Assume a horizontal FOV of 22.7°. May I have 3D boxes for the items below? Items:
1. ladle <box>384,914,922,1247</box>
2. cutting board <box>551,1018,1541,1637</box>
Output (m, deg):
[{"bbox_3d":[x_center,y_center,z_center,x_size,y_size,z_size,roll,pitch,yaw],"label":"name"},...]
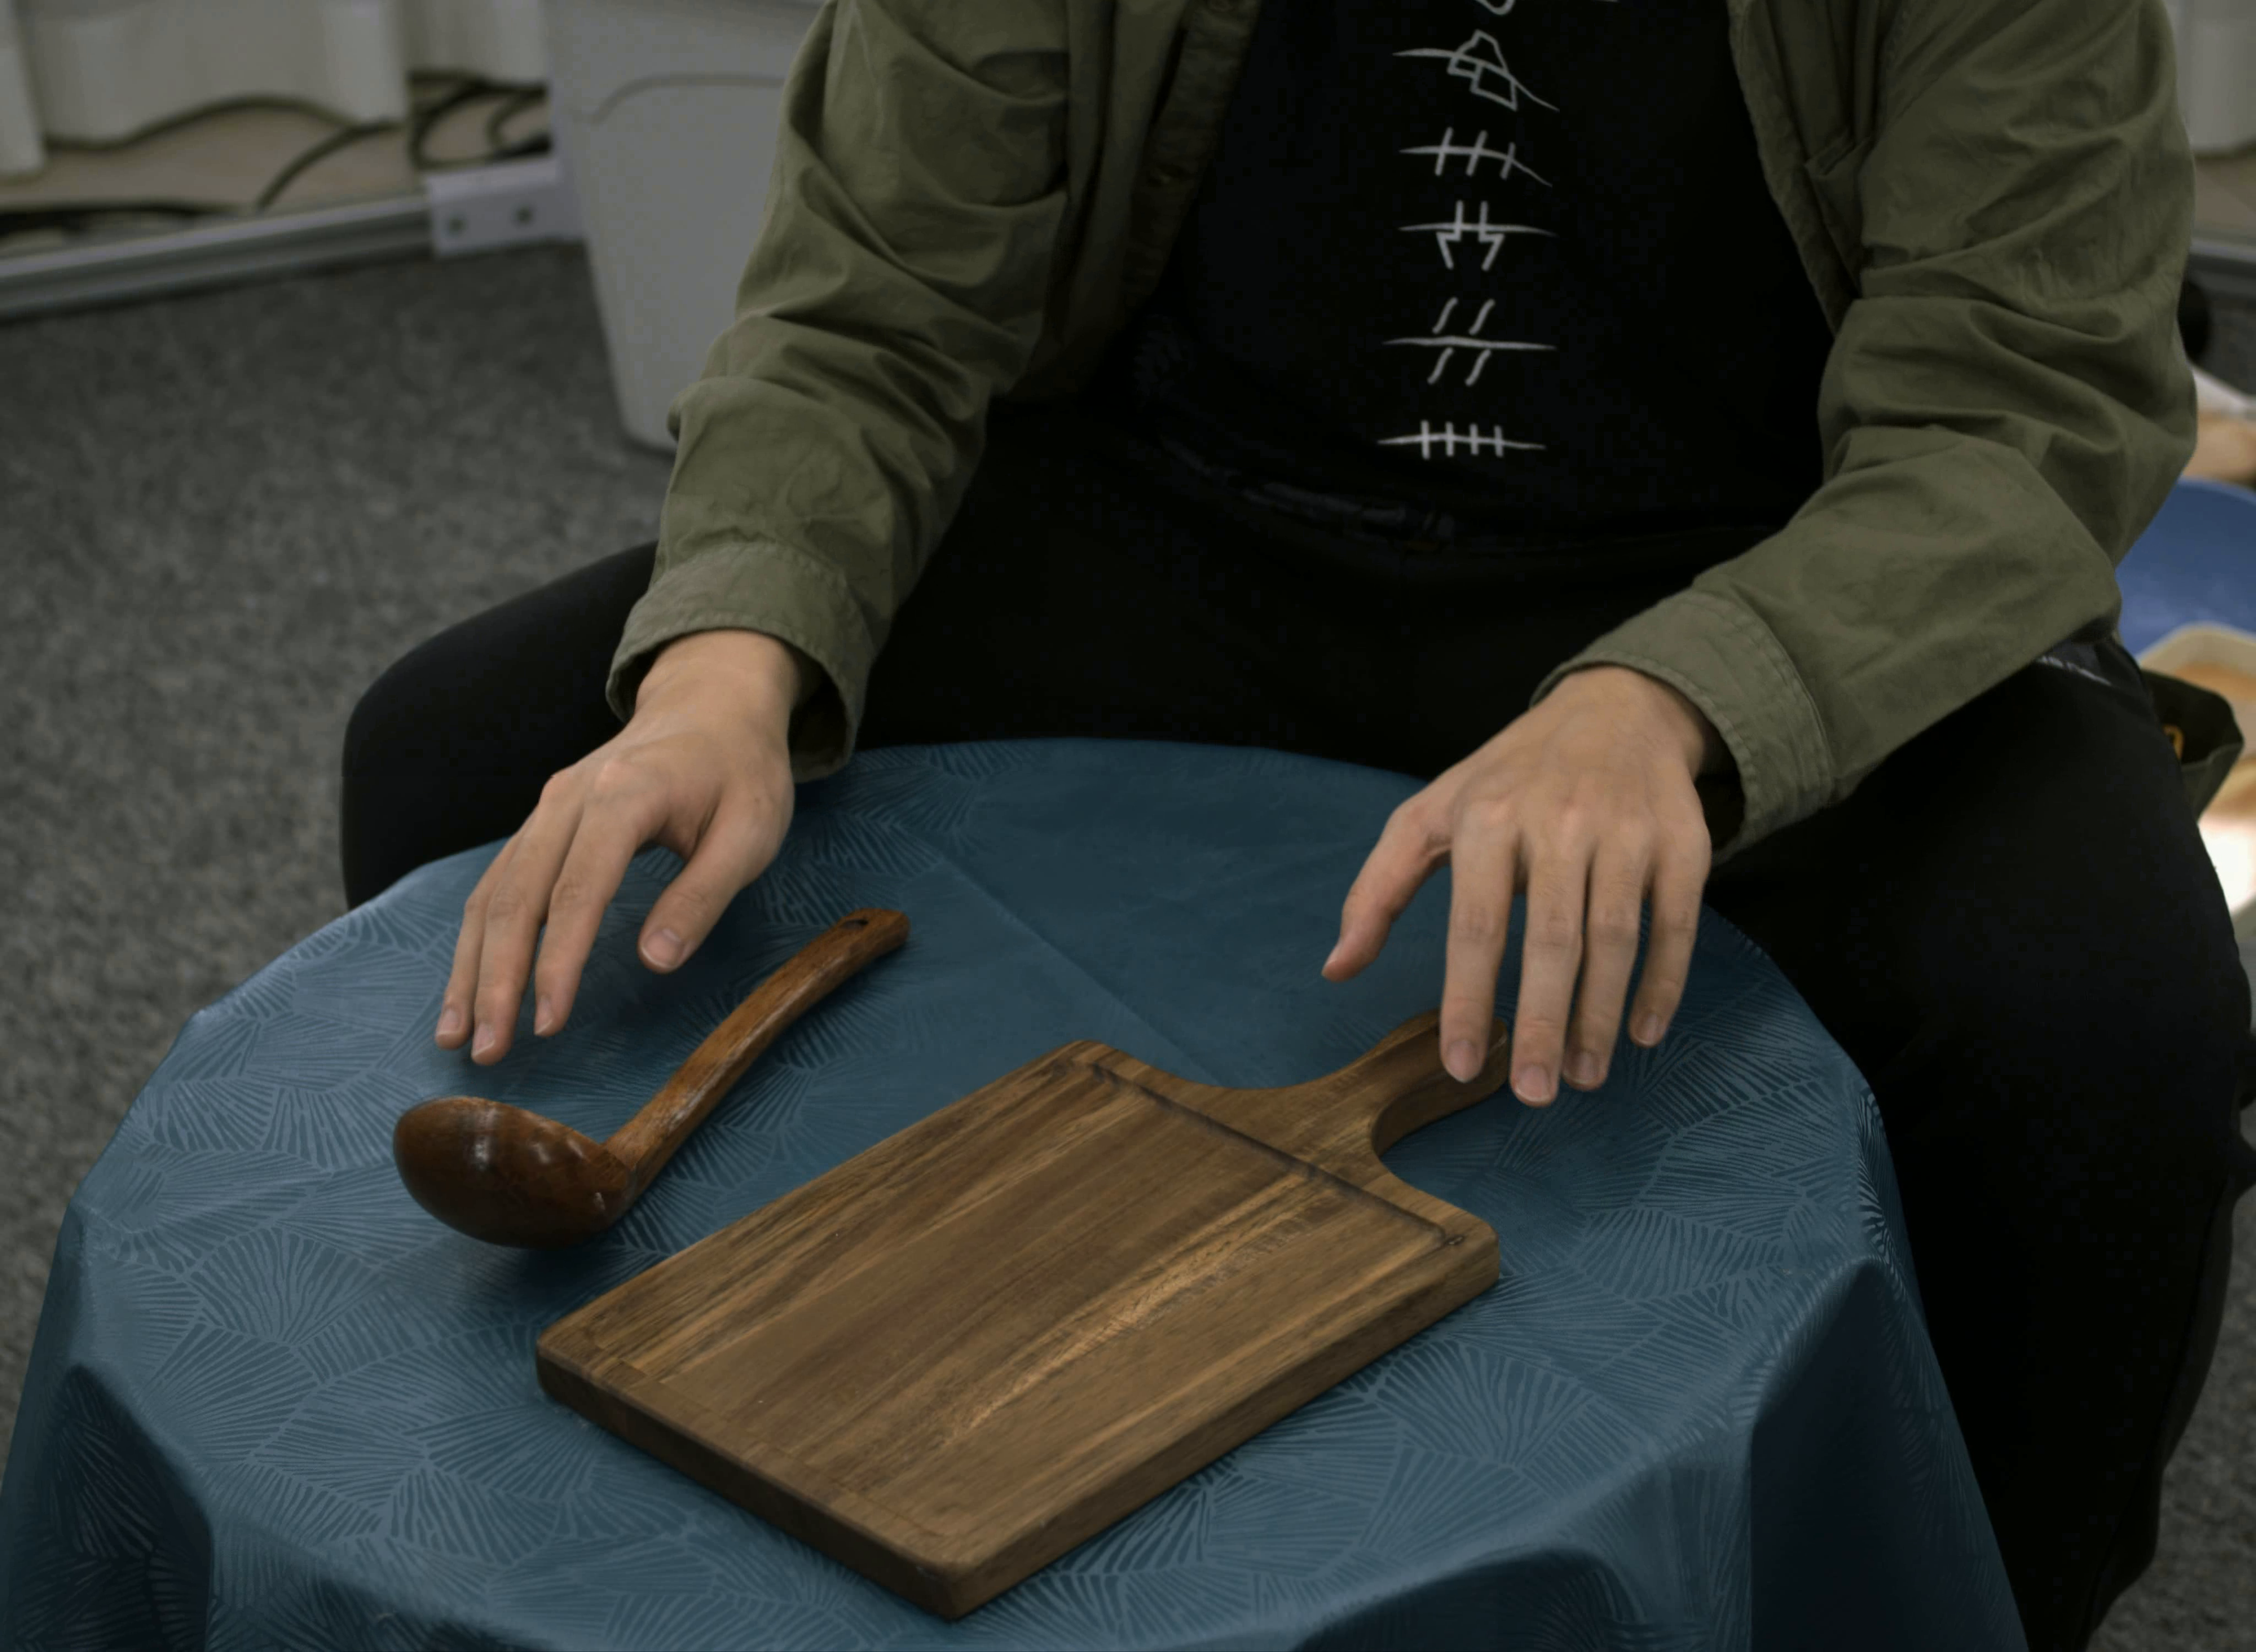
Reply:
[{"bbox_3d":[-0.153,0.065,1.900,0.081,0.076,0.278,6,28,28],"label":"ladle"},{"bbox_3d":[0.009,0.139,1.798,0.356,0.023,0.201,-26,35,-37],"label":"cutting board"}]
